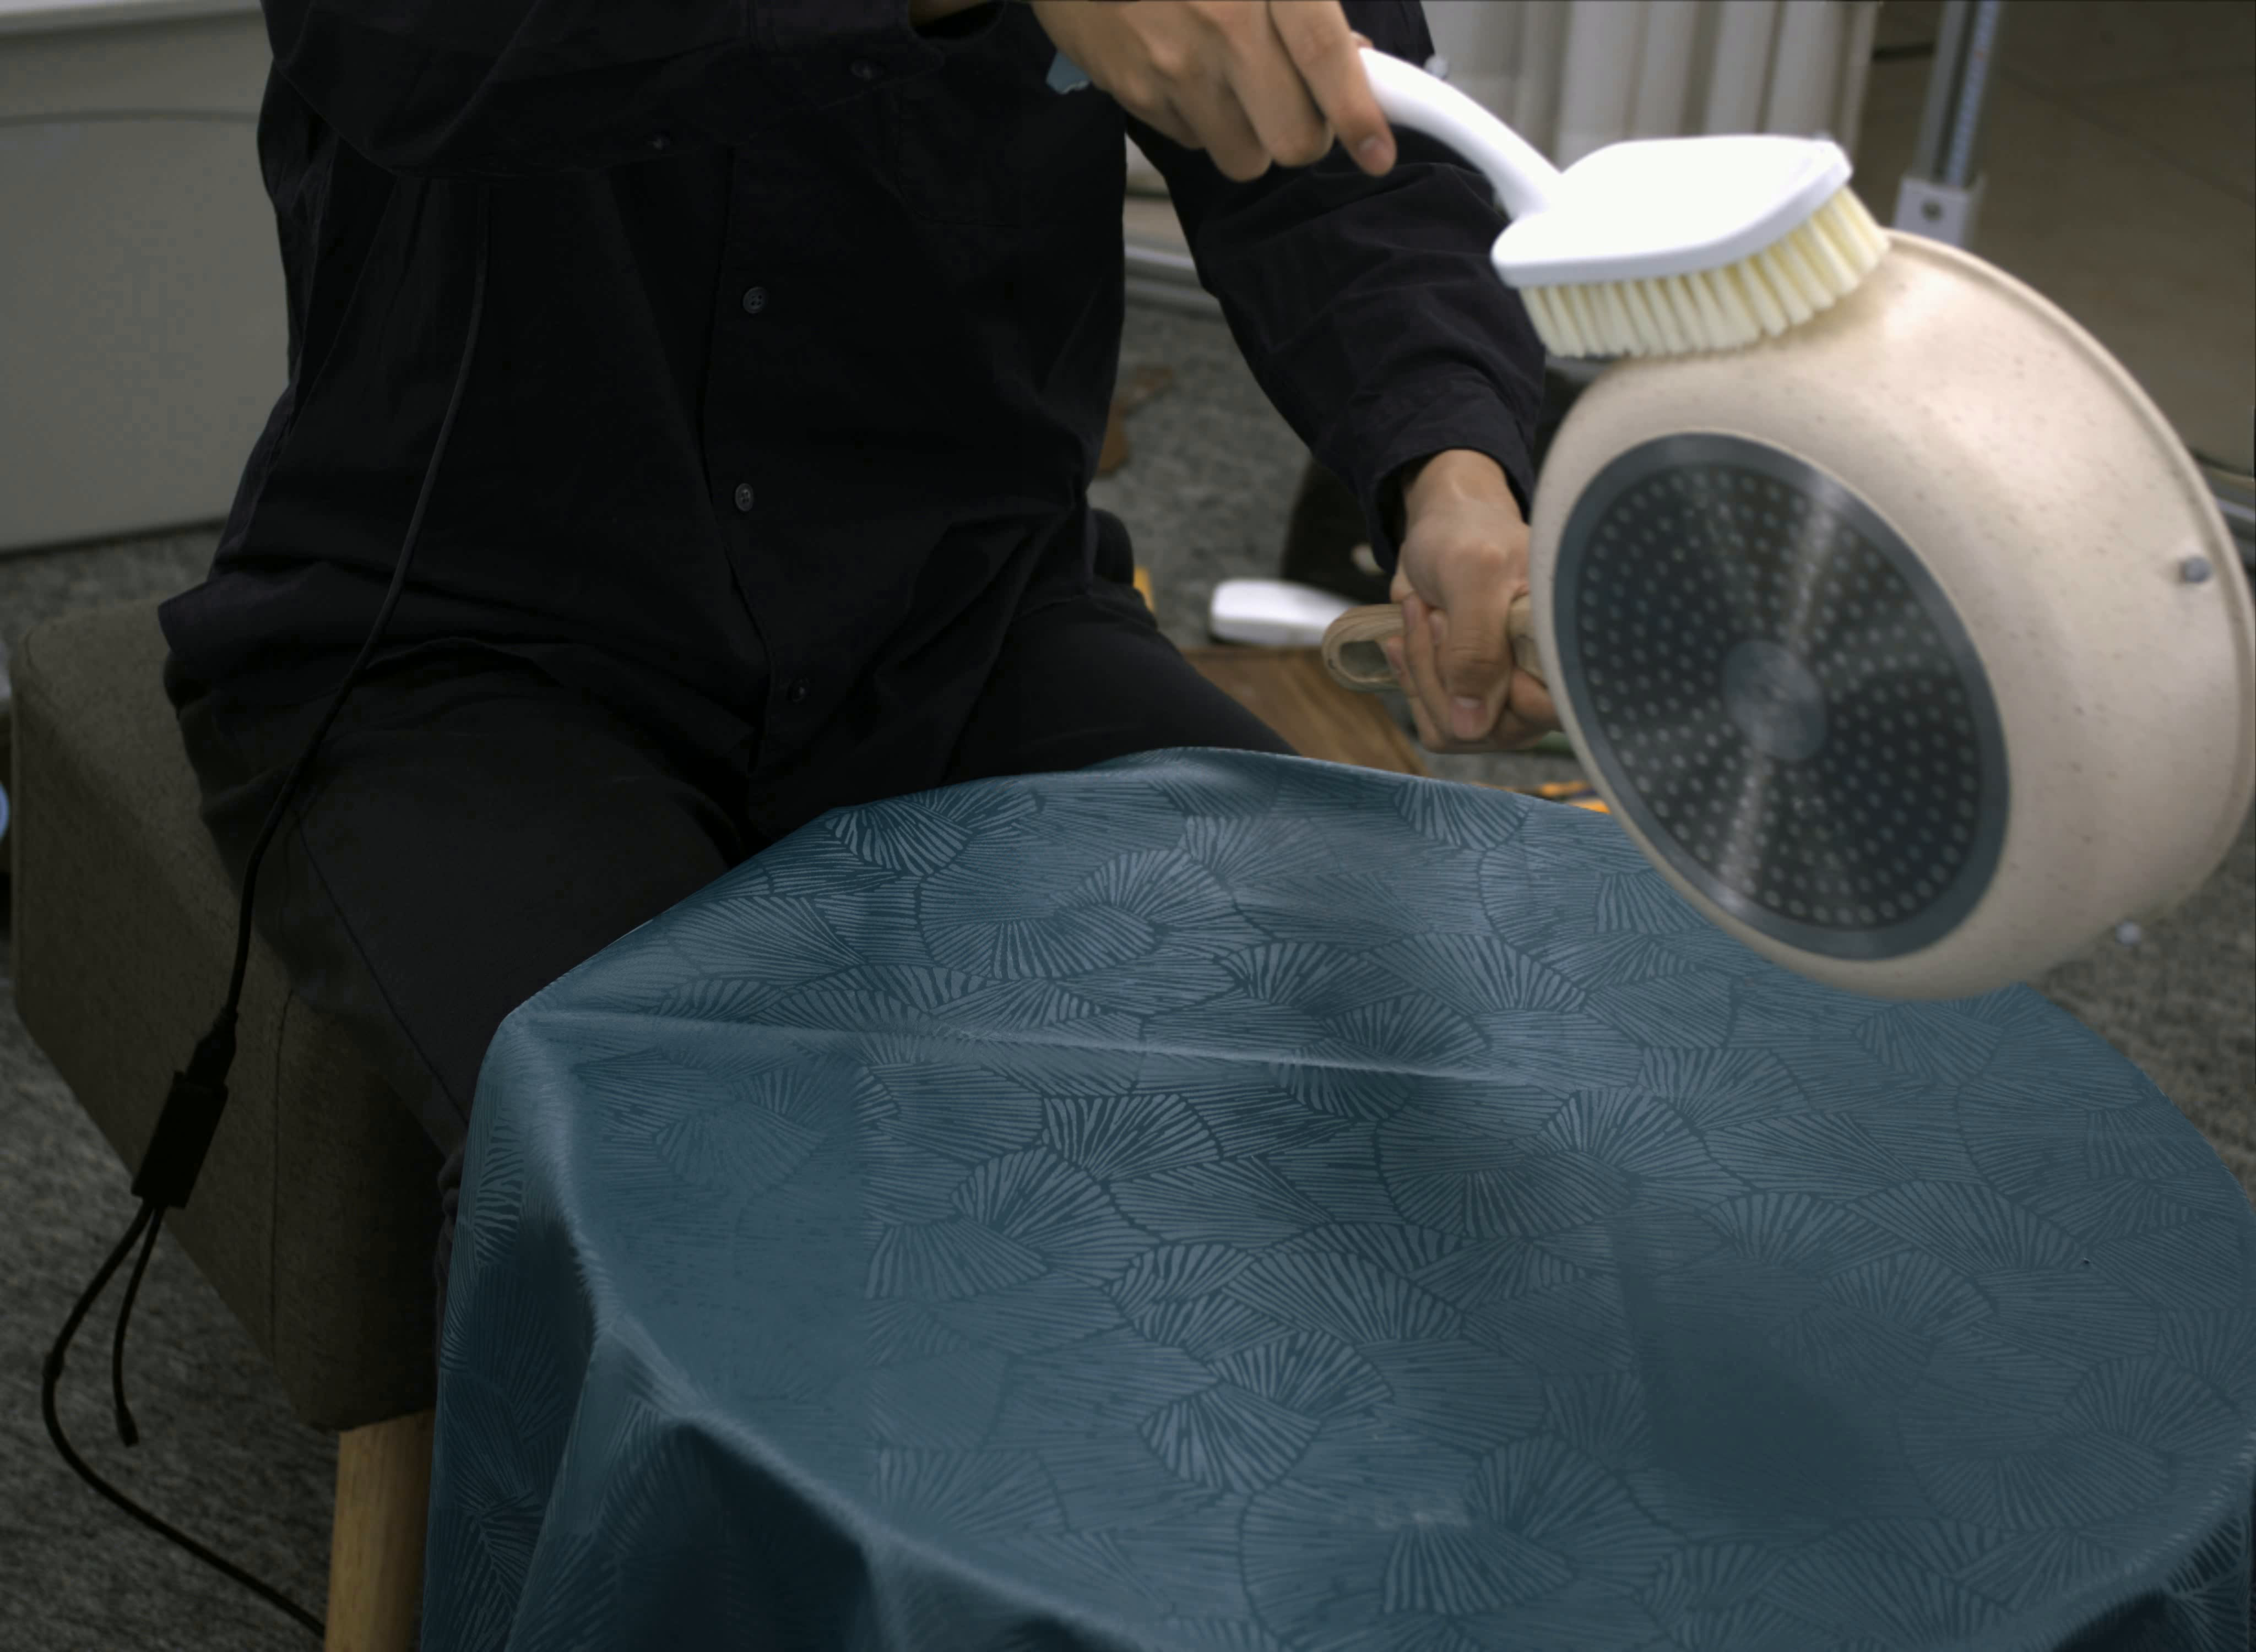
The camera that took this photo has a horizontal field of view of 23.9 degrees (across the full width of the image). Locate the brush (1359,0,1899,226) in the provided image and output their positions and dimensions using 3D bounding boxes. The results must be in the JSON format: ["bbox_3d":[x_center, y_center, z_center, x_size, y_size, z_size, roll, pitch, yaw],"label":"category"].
[{"bbox_3d":[0.113,-0.242,1.719,0.327,0.084,0.082,16,11,41],"label":"brush"}]

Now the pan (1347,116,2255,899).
[{"bbox_3d":[0.193,-0.088,1.763,0.102,0.263,0.437,-33,17,-34],"label":"pan"}]
